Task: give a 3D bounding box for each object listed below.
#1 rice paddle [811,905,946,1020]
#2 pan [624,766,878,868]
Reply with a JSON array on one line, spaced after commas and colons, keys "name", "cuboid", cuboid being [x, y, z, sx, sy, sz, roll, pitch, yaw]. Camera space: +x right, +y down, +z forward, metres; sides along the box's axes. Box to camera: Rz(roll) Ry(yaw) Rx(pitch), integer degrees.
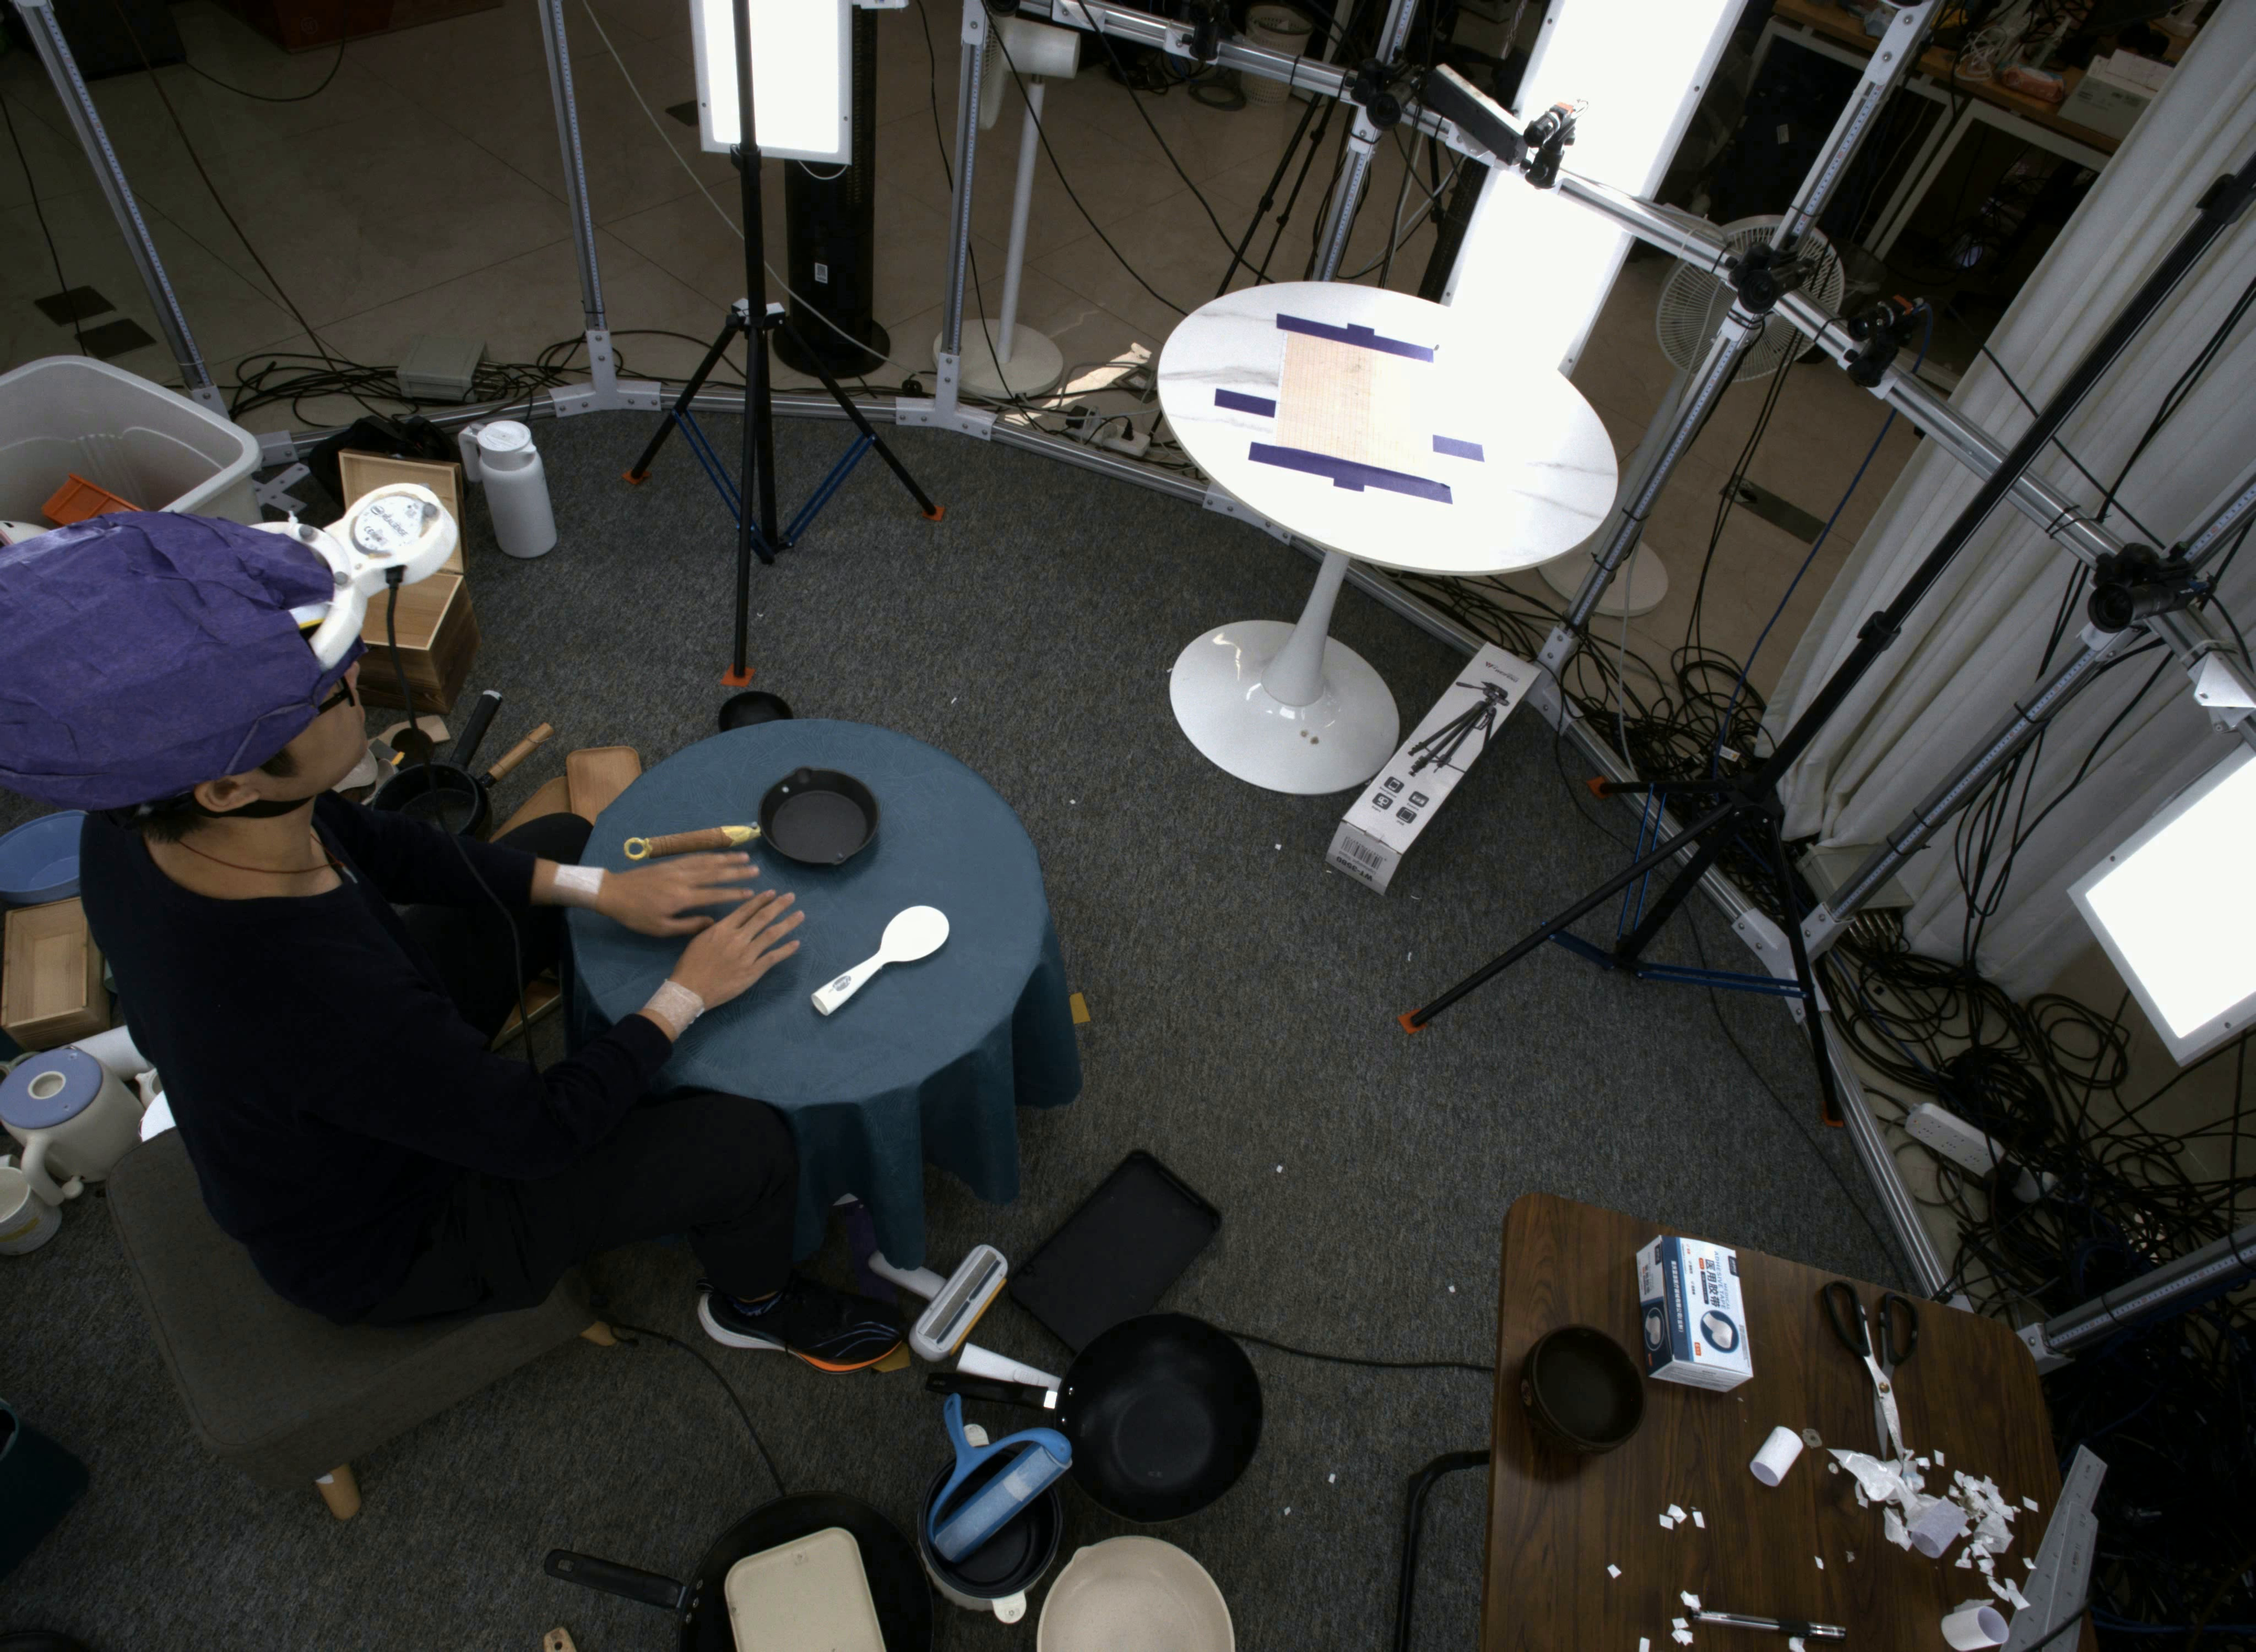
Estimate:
[{"name": "rice paddle", "cuboid": [-0.305, 0.162, 1.605, 0.068, 0.030, 0.205, 42, 55, 11]}, {"name": "pan", "cuboid": [-0.482, 0.005, 1.662, 0.326, 0.050, 0.165, -12, 58, -24]}]
